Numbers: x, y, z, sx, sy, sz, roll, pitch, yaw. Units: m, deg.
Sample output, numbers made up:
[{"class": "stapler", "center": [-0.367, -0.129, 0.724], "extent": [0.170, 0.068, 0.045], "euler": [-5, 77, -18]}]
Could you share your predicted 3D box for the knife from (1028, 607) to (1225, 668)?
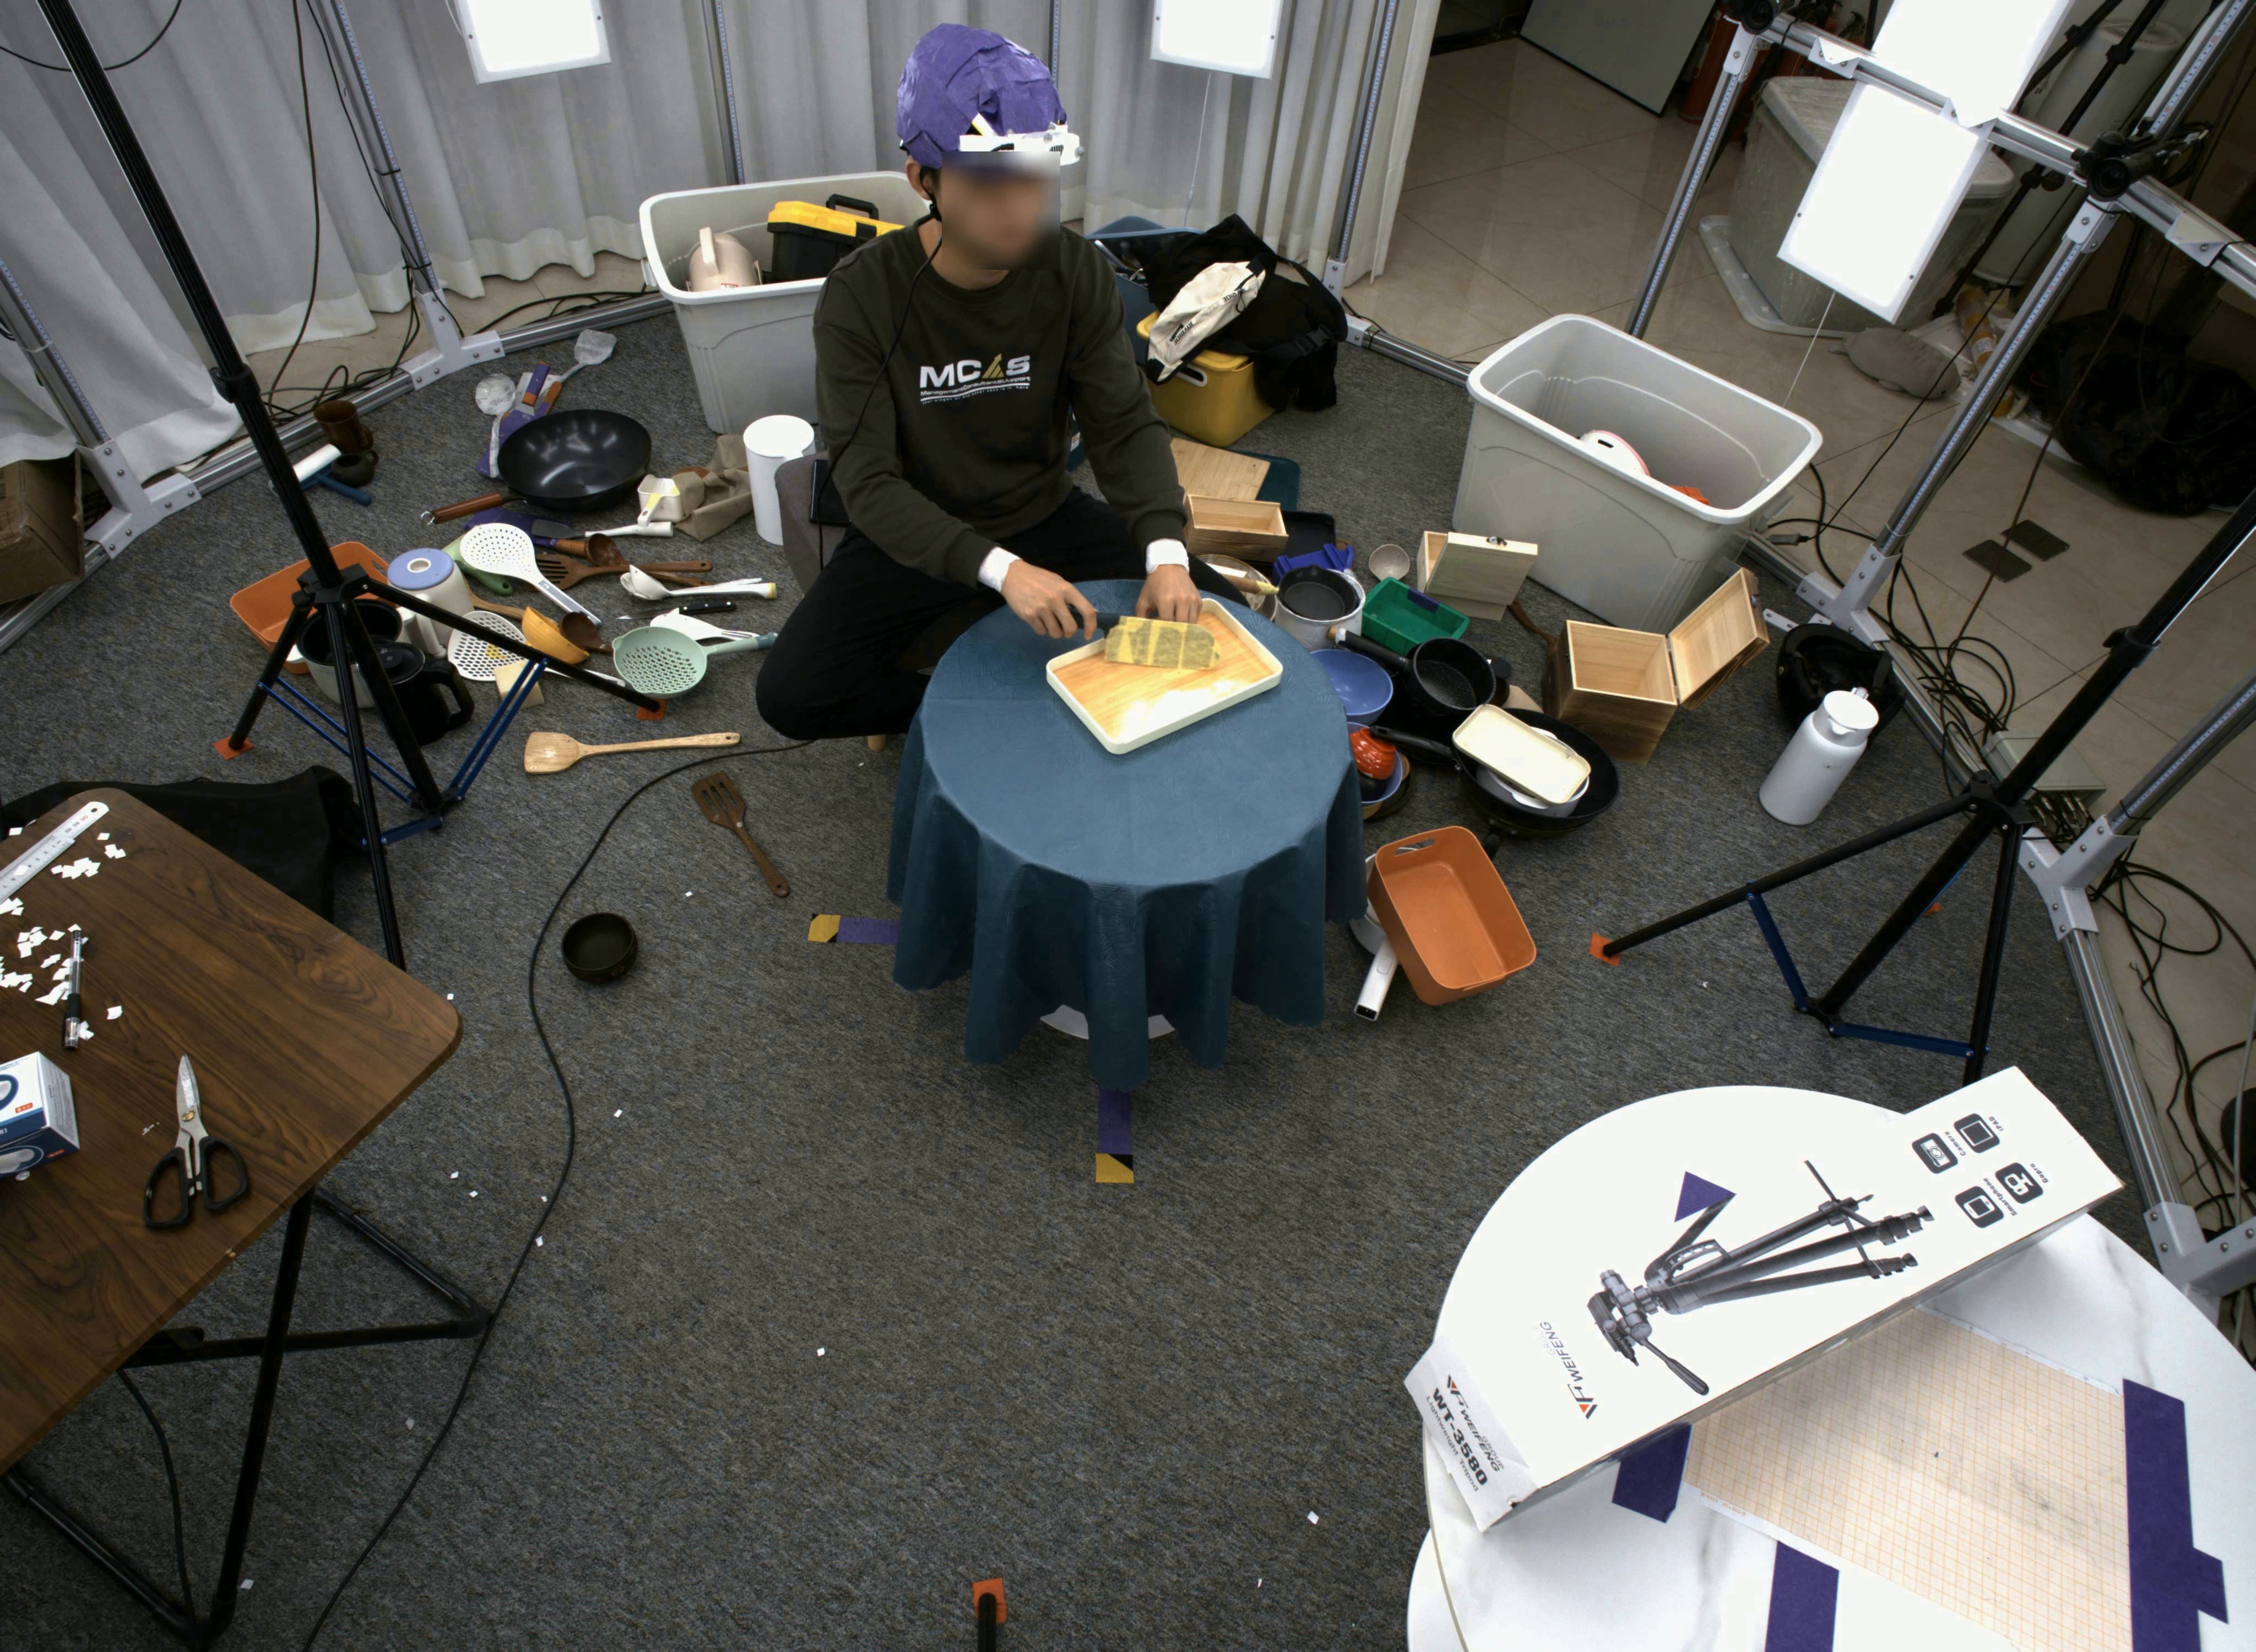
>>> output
[{"class": "knife", "center": [-0.001, -0.271, 1.843], "extent": [0.289, 0.079, 0.028], "euler": [10, 29, -1]}]

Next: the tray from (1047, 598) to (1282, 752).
[{"class": "tray", "center": [0.053, -0.222, 1.846], "extent": [0.301, 0.027, 0.195], "euler": [-25, 54, -24]}]
